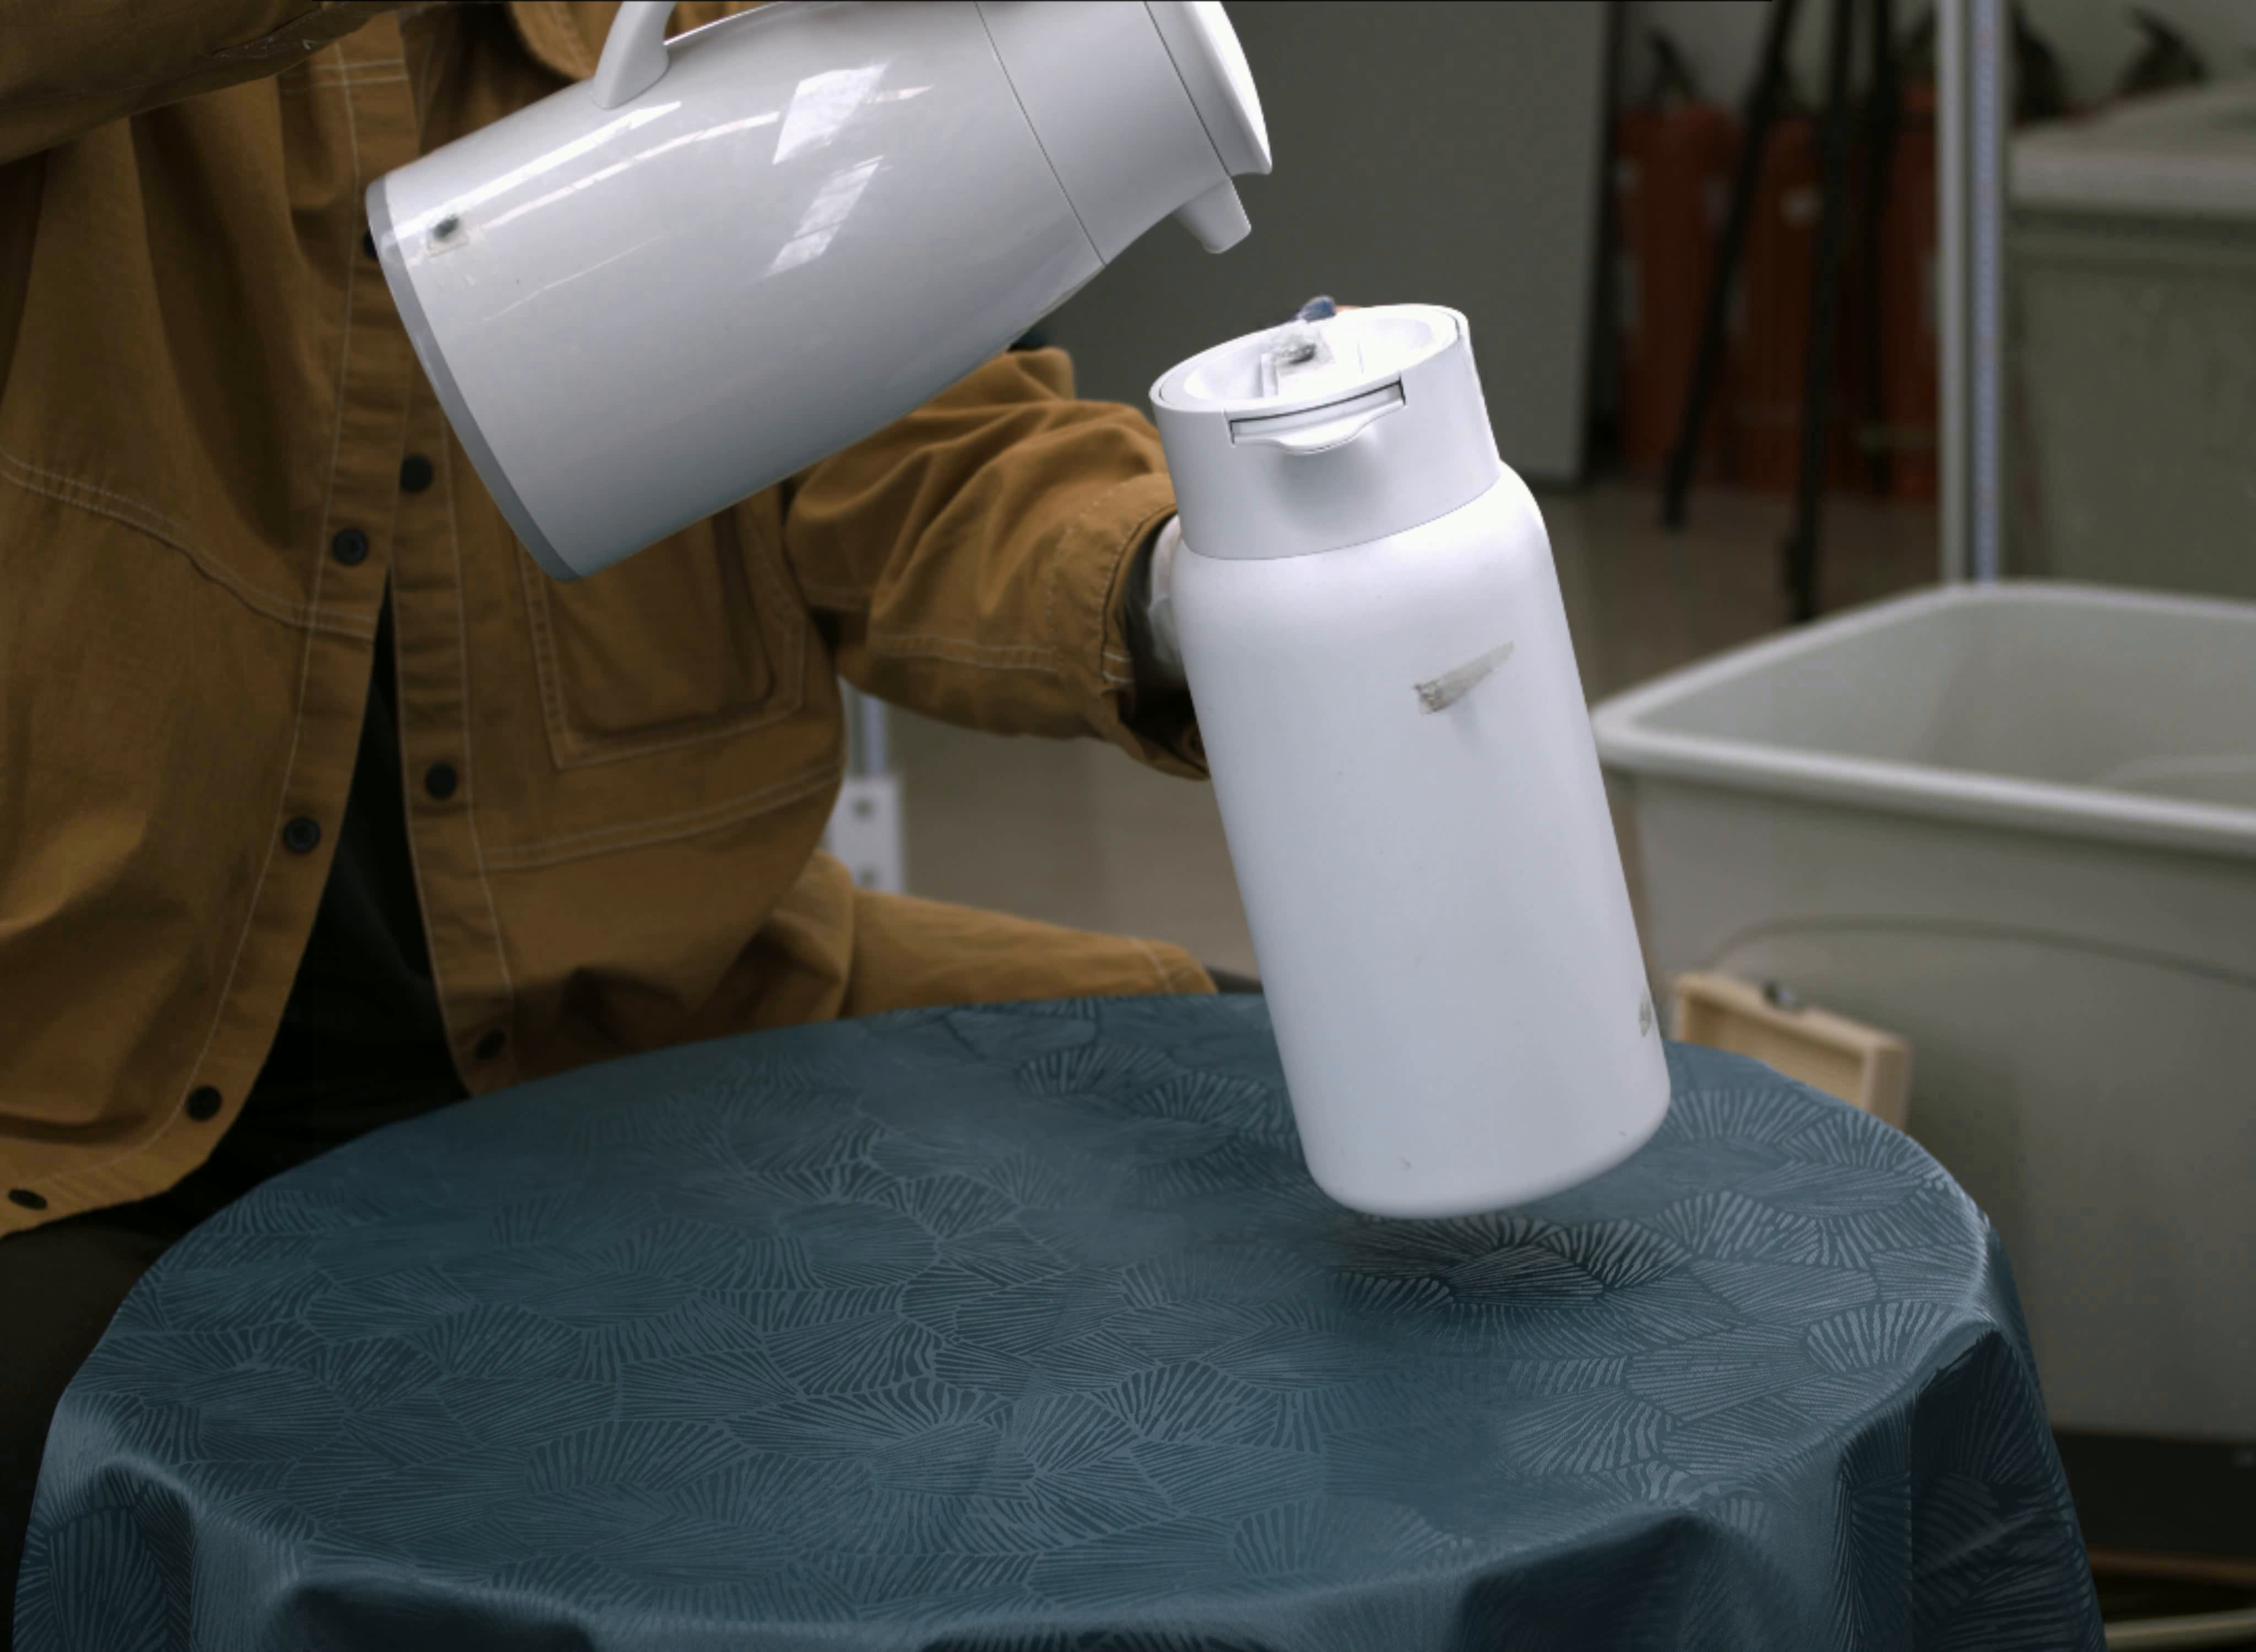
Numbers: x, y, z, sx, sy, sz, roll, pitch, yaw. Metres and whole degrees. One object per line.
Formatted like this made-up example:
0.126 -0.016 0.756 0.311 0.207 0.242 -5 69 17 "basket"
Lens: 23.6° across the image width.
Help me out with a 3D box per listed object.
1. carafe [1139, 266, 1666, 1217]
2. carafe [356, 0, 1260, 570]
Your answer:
0.081 -0.029 1.657 0.123 0.270 0.173 -15 17 5 "carafe"
-0.092 -0.202 1.558 0.247 0.167 0.133 -26 30 6 "carafe"
